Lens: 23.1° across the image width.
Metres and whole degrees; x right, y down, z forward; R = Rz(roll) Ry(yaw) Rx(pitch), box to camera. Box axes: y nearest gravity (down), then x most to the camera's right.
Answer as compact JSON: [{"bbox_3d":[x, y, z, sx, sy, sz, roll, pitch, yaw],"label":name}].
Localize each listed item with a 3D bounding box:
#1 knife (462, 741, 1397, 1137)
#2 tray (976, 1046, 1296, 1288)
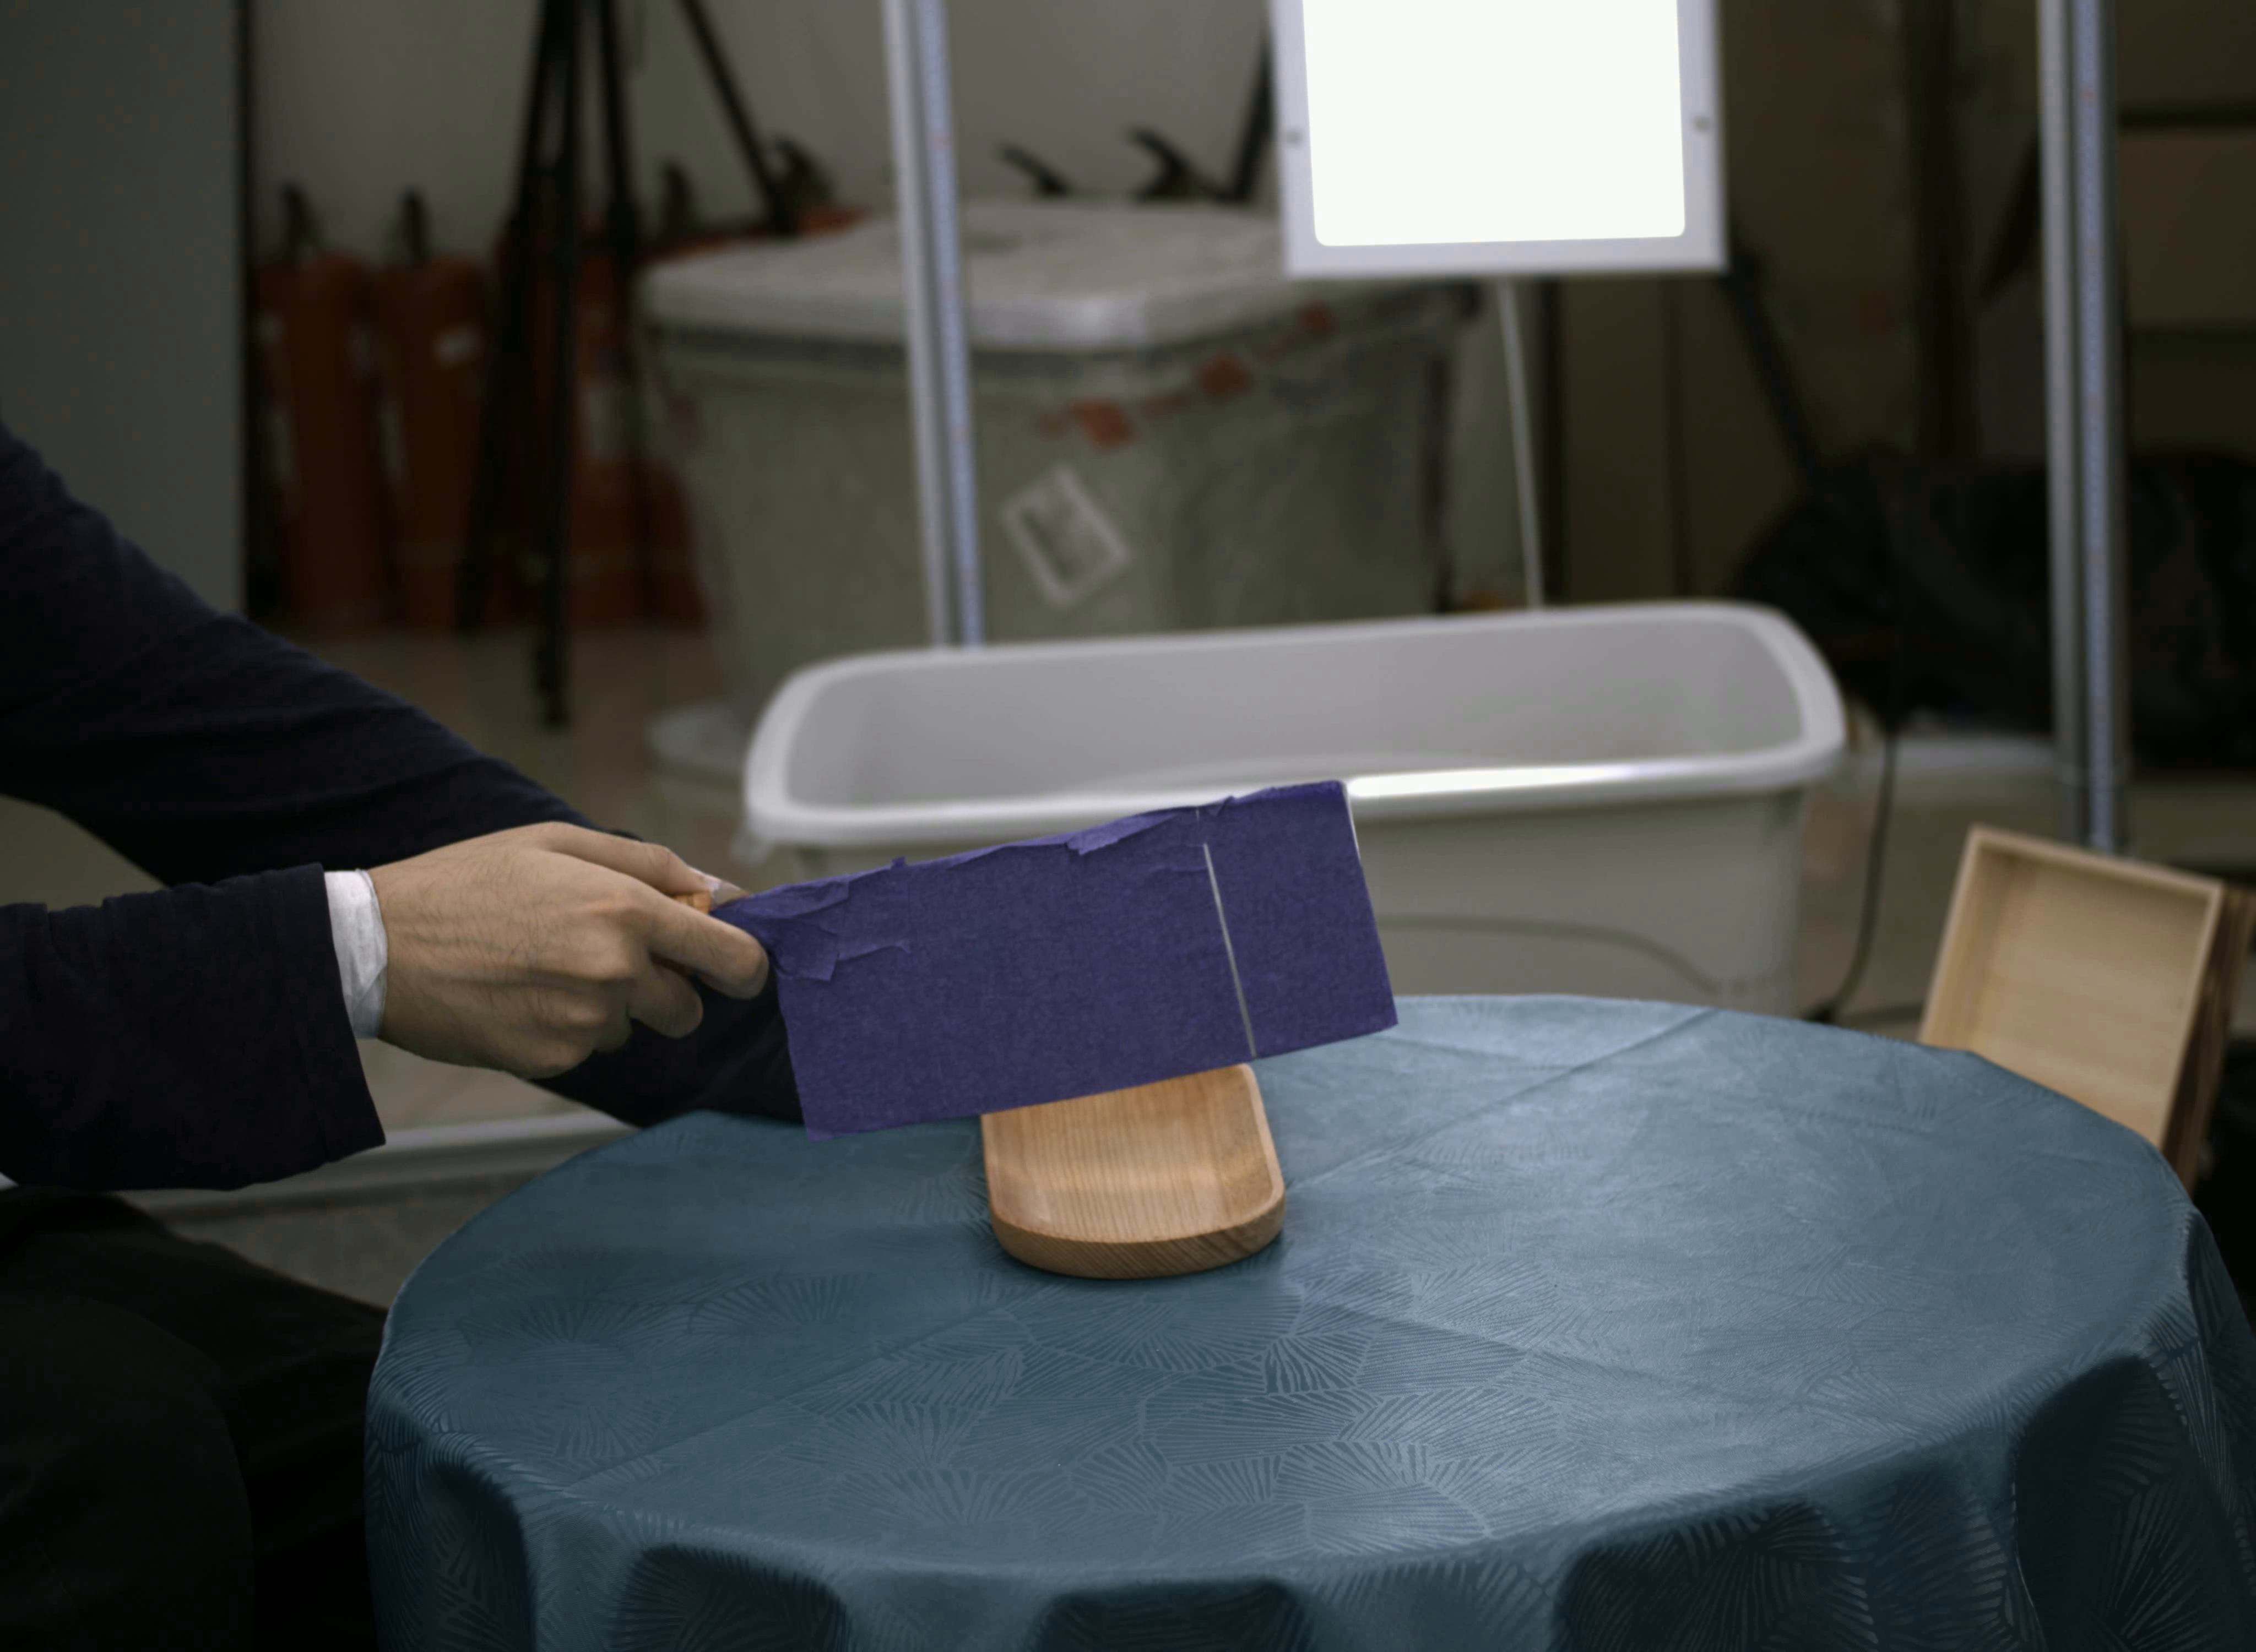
[{"bbox_3d":[-0.067,0.054,1.884,0.316,0.104,0.032,-12,3,5],"label":"knife"},{"bbox_3d":[0.002,0.116,1.911,0.101,0.020,0.231,-6,16,-3],"label":"tray"}]
